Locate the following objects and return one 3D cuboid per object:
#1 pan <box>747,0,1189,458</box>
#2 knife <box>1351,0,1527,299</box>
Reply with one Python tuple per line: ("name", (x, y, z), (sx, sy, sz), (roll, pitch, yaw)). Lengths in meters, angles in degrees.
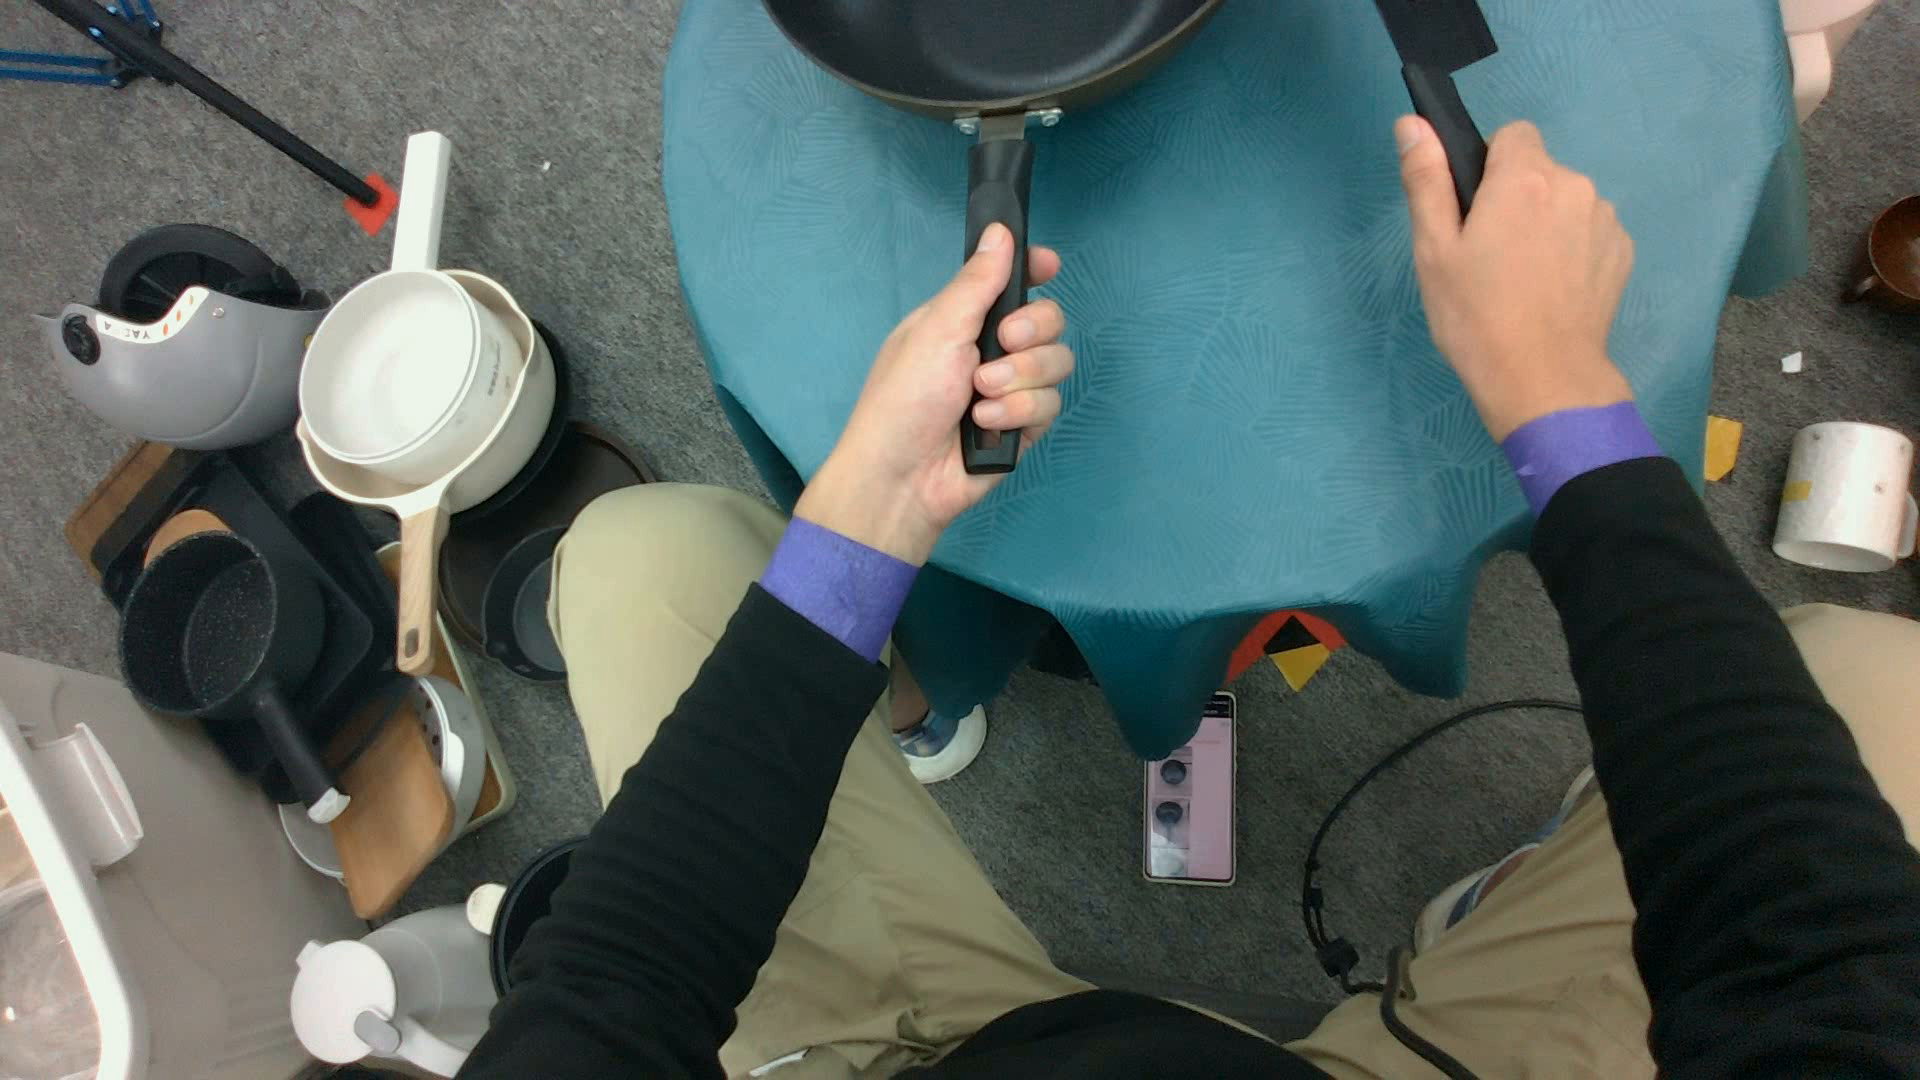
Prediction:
("pan", (0.015, -0.251, 0.712), (0.288, 0.087, 0.464), (-2, 73, 11))
("knife", (0.208, -0.256, 0.646), (0.081, 0.021, 0.302), (-17, 89, -27))
